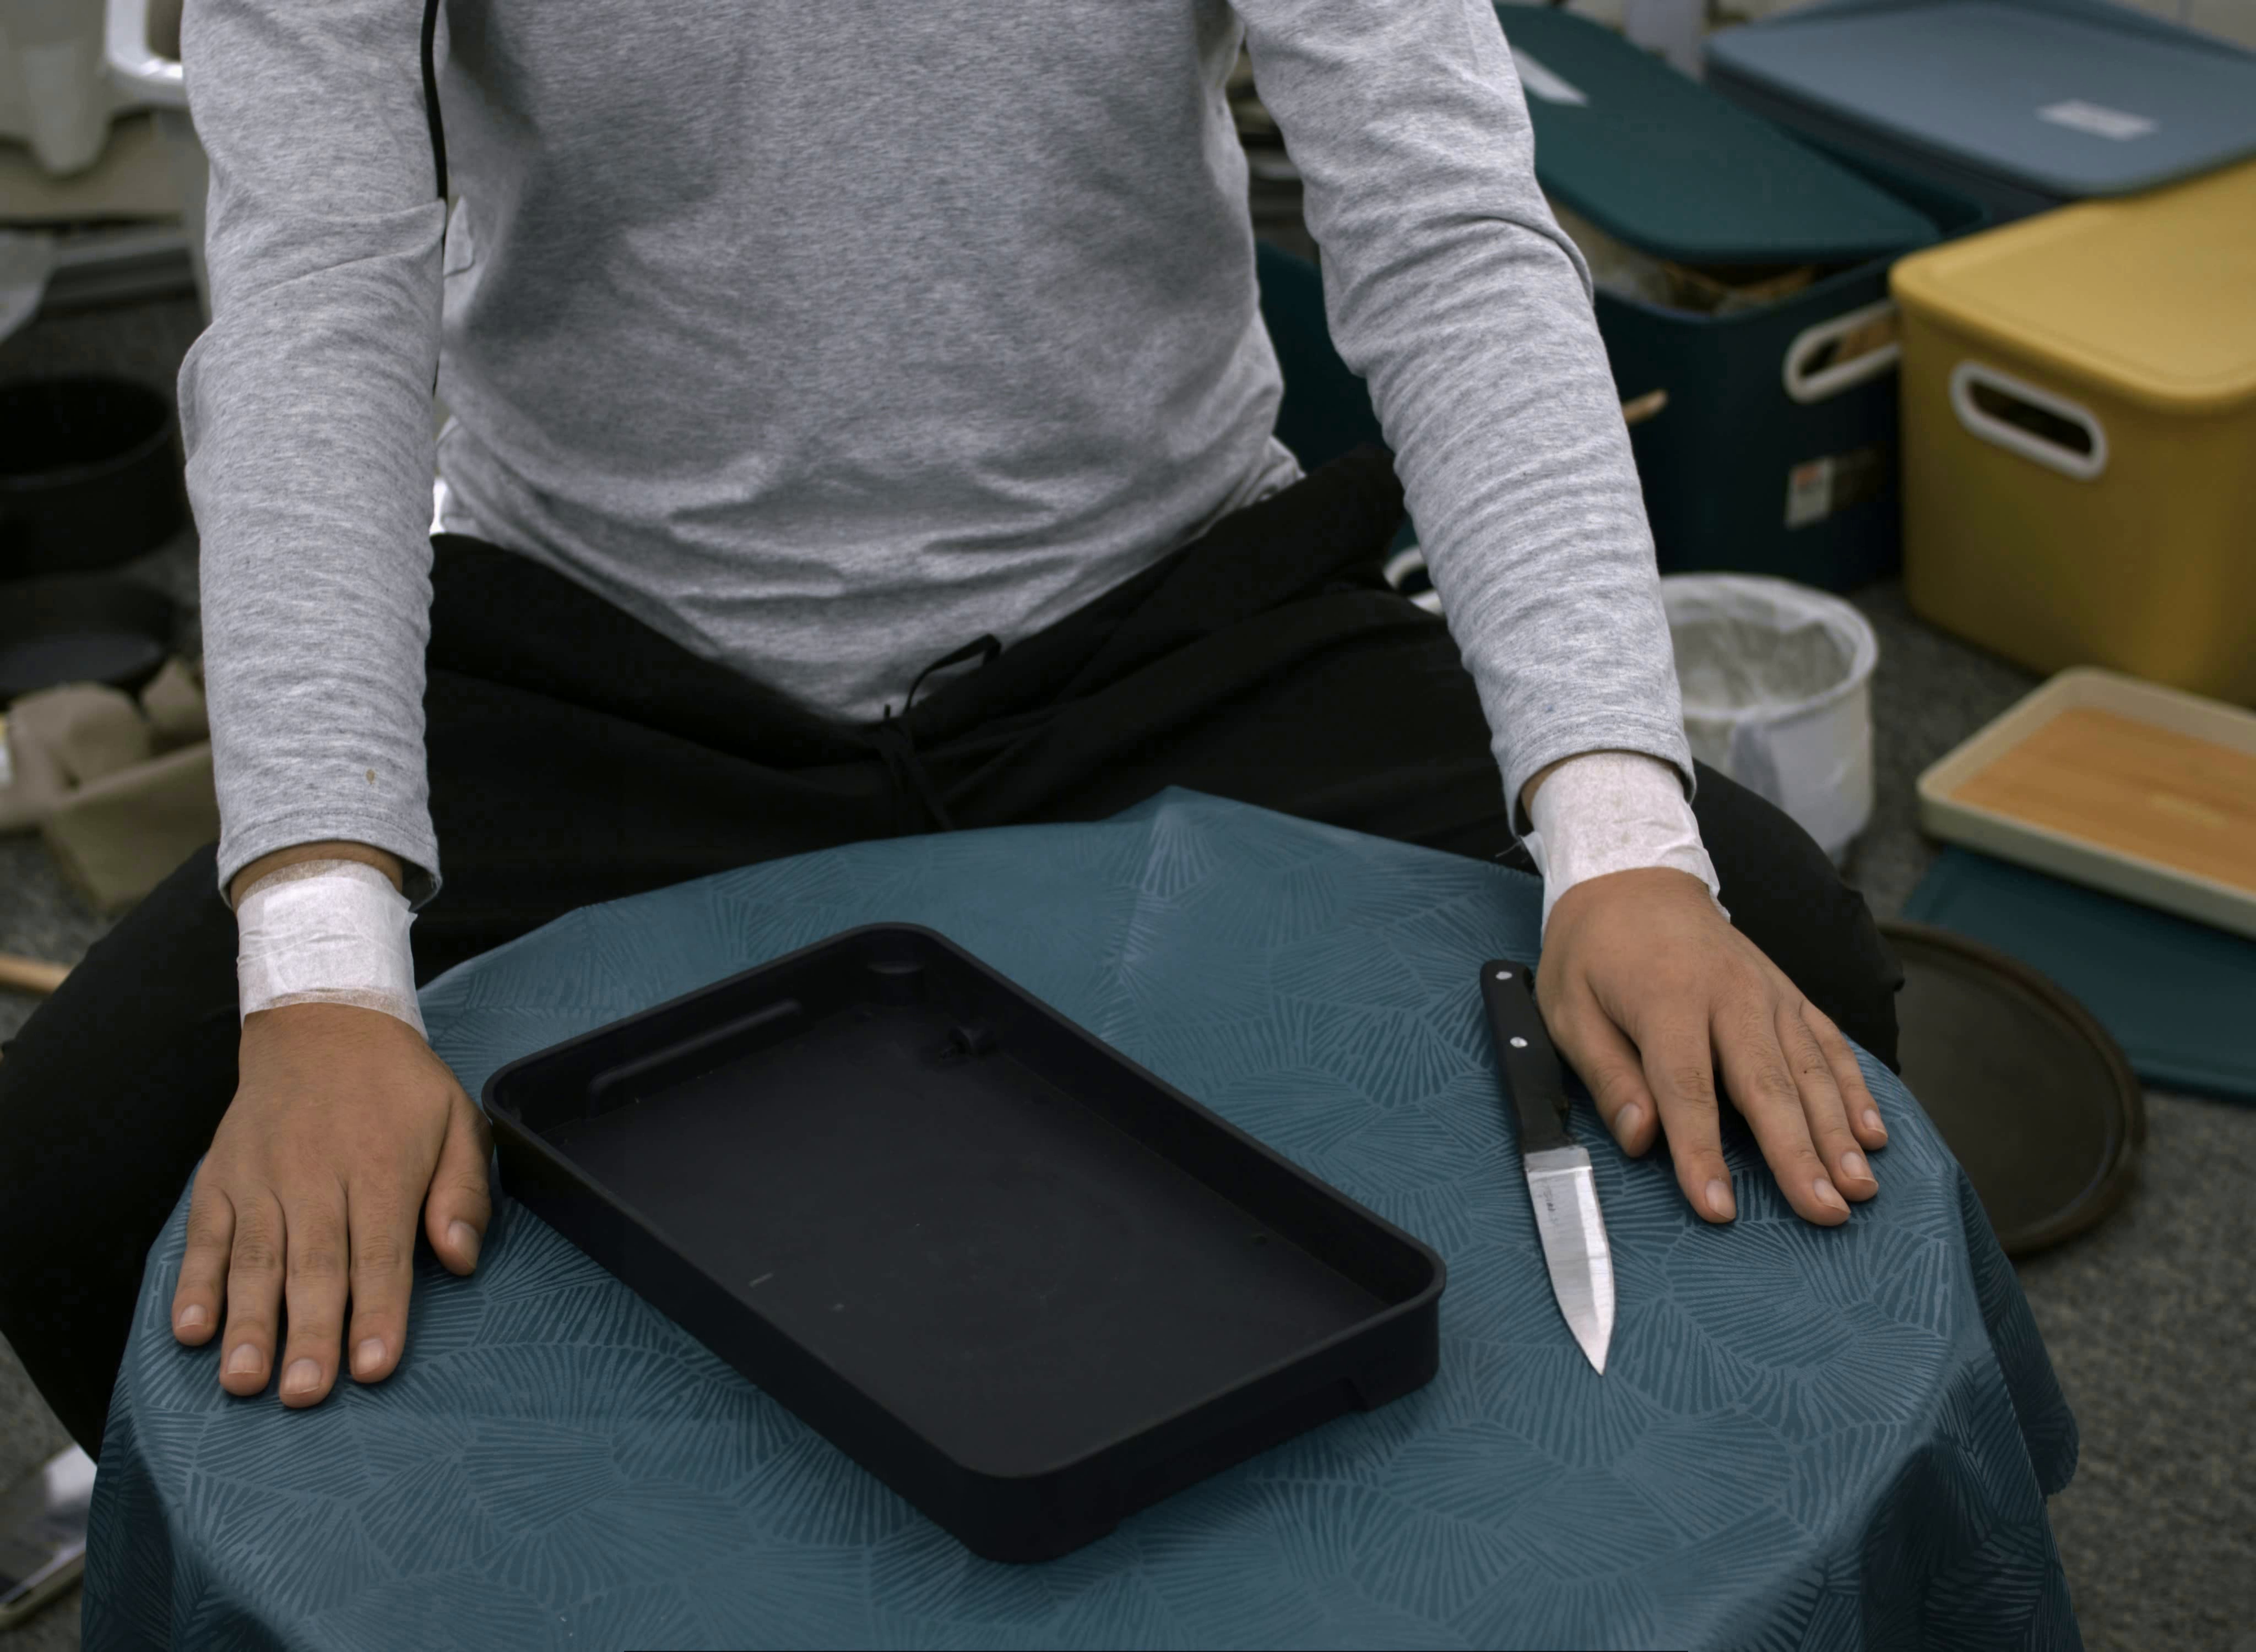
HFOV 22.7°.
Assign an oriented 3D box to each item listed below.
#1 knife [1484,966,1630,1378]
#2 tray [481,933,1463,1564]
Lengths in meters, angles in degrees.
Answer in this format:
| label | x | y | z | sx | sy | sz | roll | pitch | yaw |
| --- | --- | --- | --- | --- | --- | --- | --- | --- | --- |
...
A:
| label | x | y | z | sx | sy | sz | roll | pitch | yaw |
| --- | --- | --- | --- | --- | --- | --- | --- | --- | --- |
| knife | 0.140 | 0.113 | 1.853 | 0.024 | 0.016 | 0.242 | -6 | 30 | -2 |
| tray | -0.055 | 0.130 | 1.813 | 0.186 | 0.036 | 0.318 | -21 | 32 | -32 |
